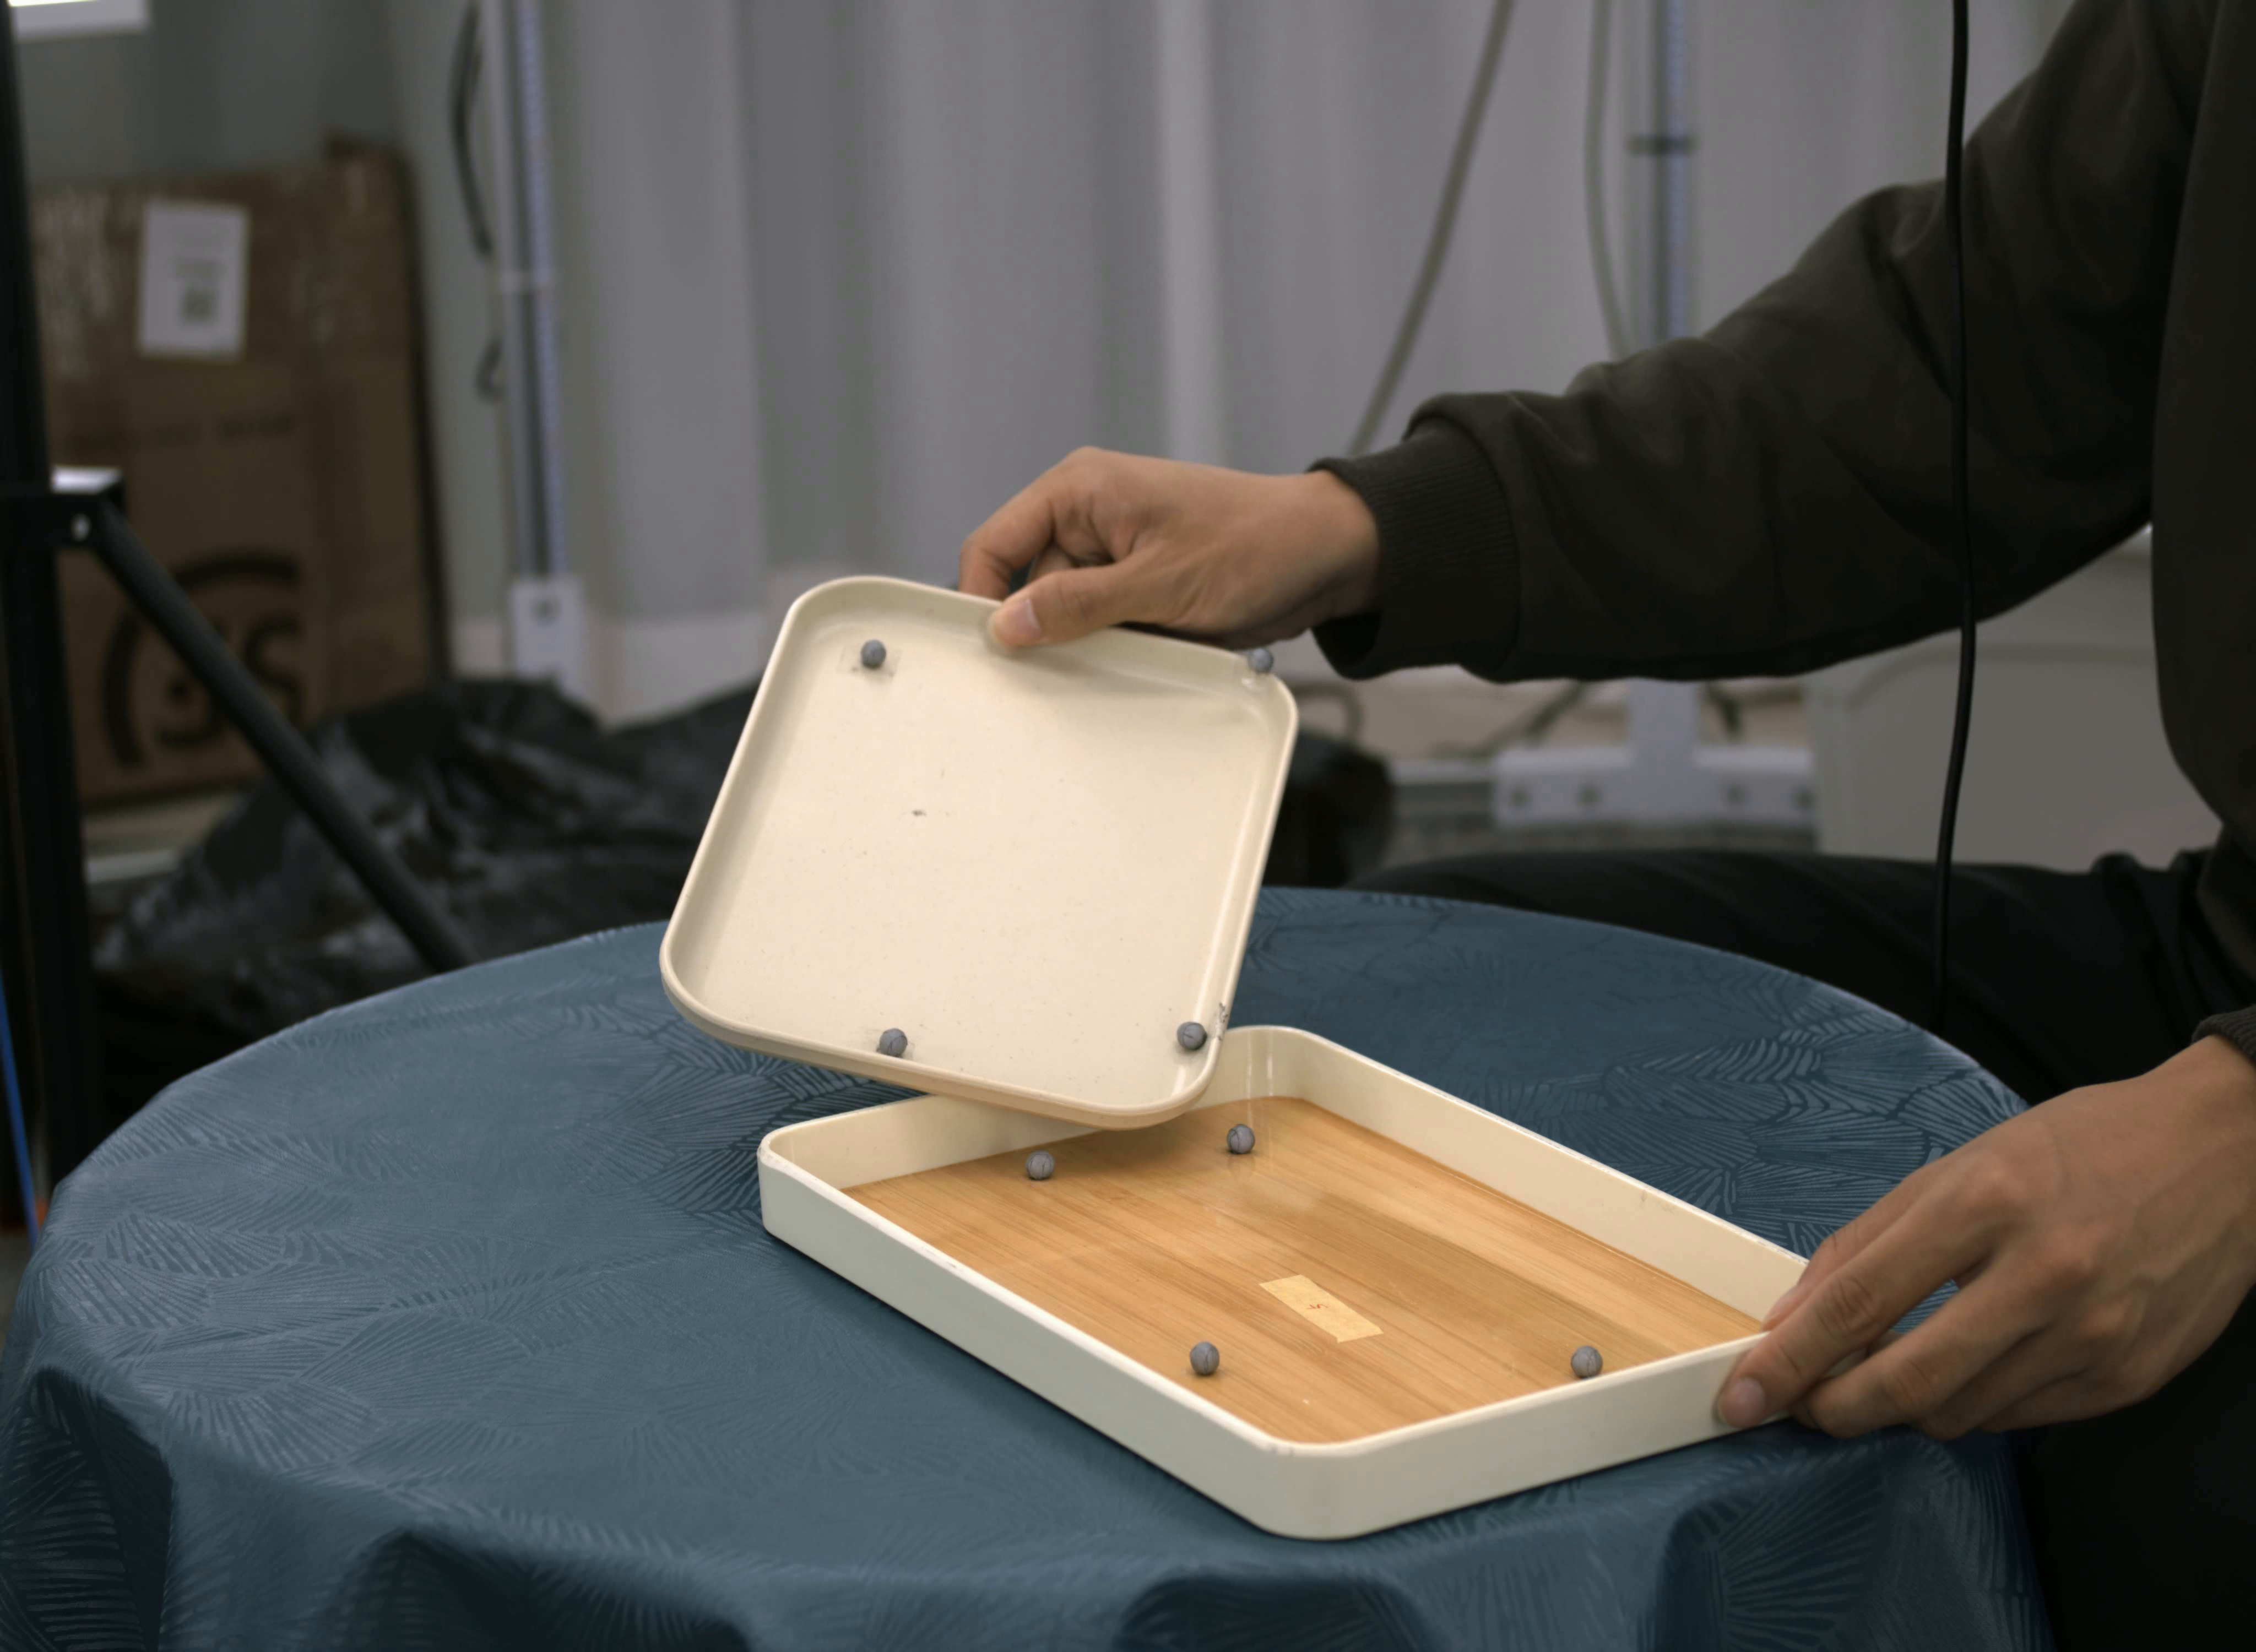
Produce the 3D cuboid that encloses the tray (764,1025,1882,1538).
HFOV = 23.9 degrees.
[{"bbox_3d":[0.047,0.120,1.464,0.187,0.027,0.307,-11,18,-29],"label":"tray"}]

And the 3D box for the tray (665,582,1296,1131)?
[{"bbox_3d":[-0.042,0.008,1.657,0.171,0.017,0.240,11,37,4],"label":"tray"}]
